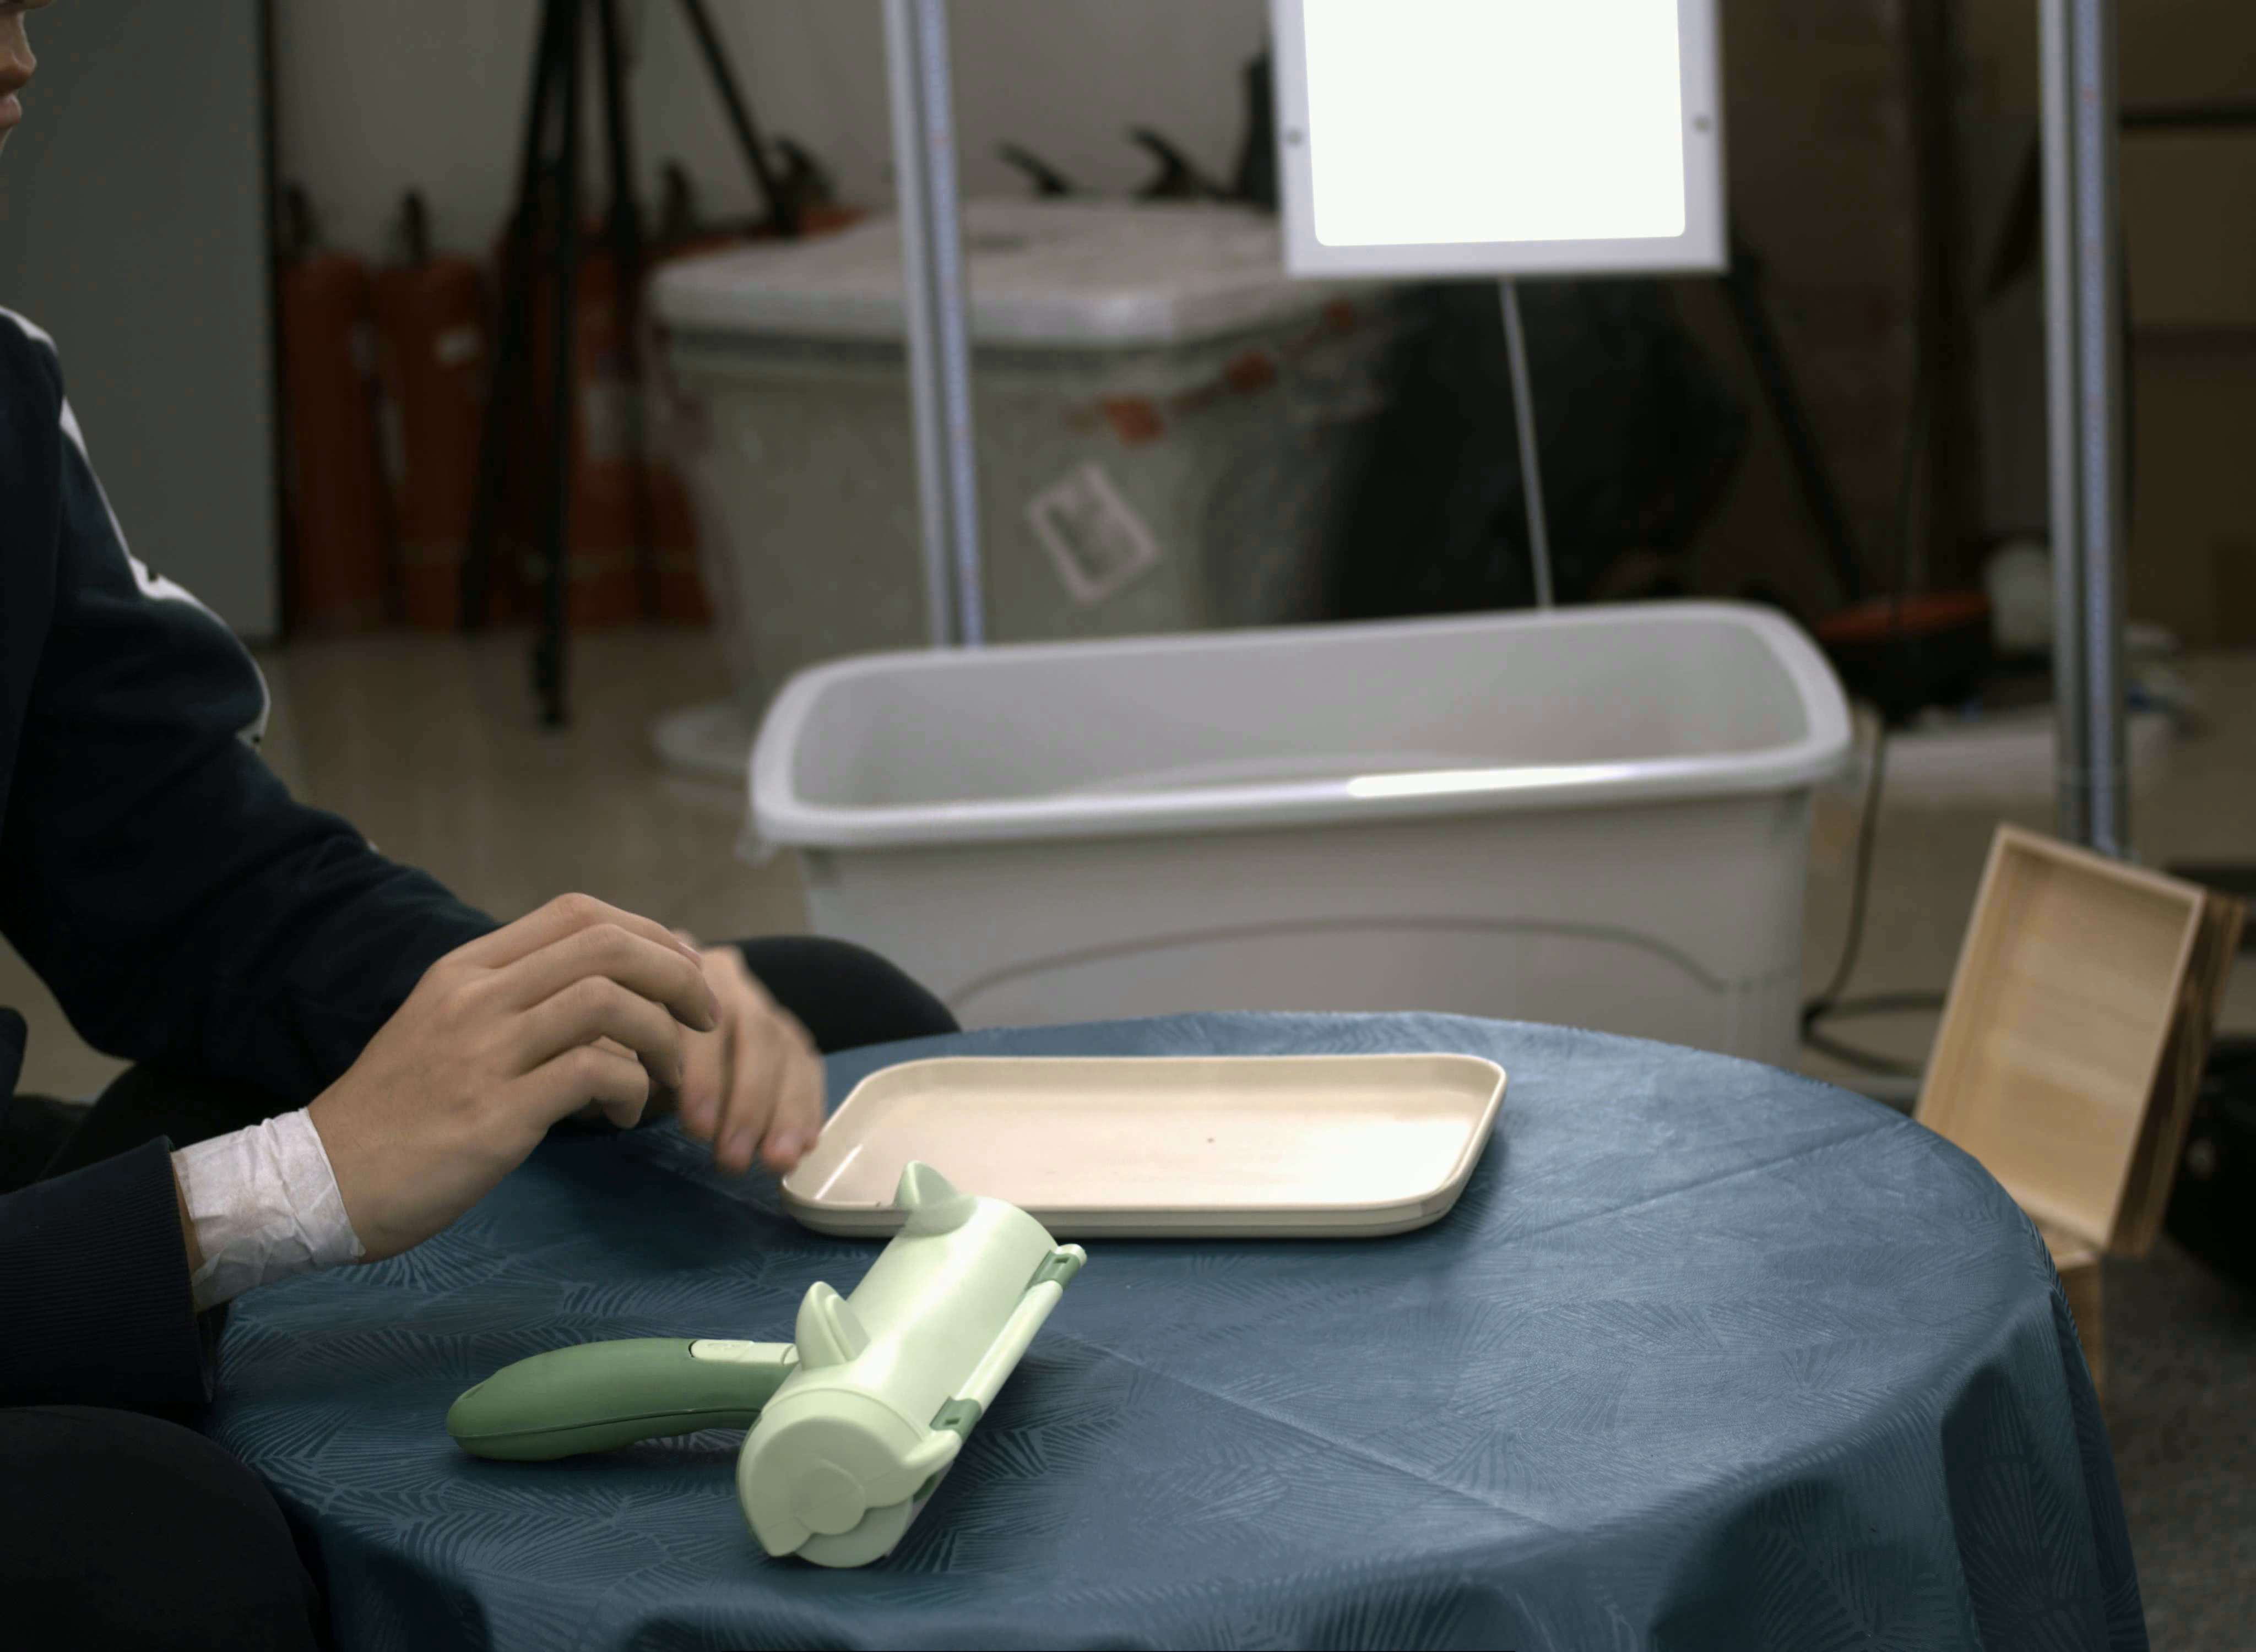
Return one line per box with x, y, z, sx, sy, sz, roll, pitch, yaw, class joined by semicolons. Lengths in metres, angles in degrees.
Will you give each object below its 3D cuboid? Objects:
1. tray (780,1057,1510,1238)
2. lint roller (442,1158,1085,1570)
0.009;0.112;1.912;0.242;0.017;0.169;-2;13;14;tray
-0.121;0.155;1.664;0.185;0.082;0.196;2;15;13;lint roller
